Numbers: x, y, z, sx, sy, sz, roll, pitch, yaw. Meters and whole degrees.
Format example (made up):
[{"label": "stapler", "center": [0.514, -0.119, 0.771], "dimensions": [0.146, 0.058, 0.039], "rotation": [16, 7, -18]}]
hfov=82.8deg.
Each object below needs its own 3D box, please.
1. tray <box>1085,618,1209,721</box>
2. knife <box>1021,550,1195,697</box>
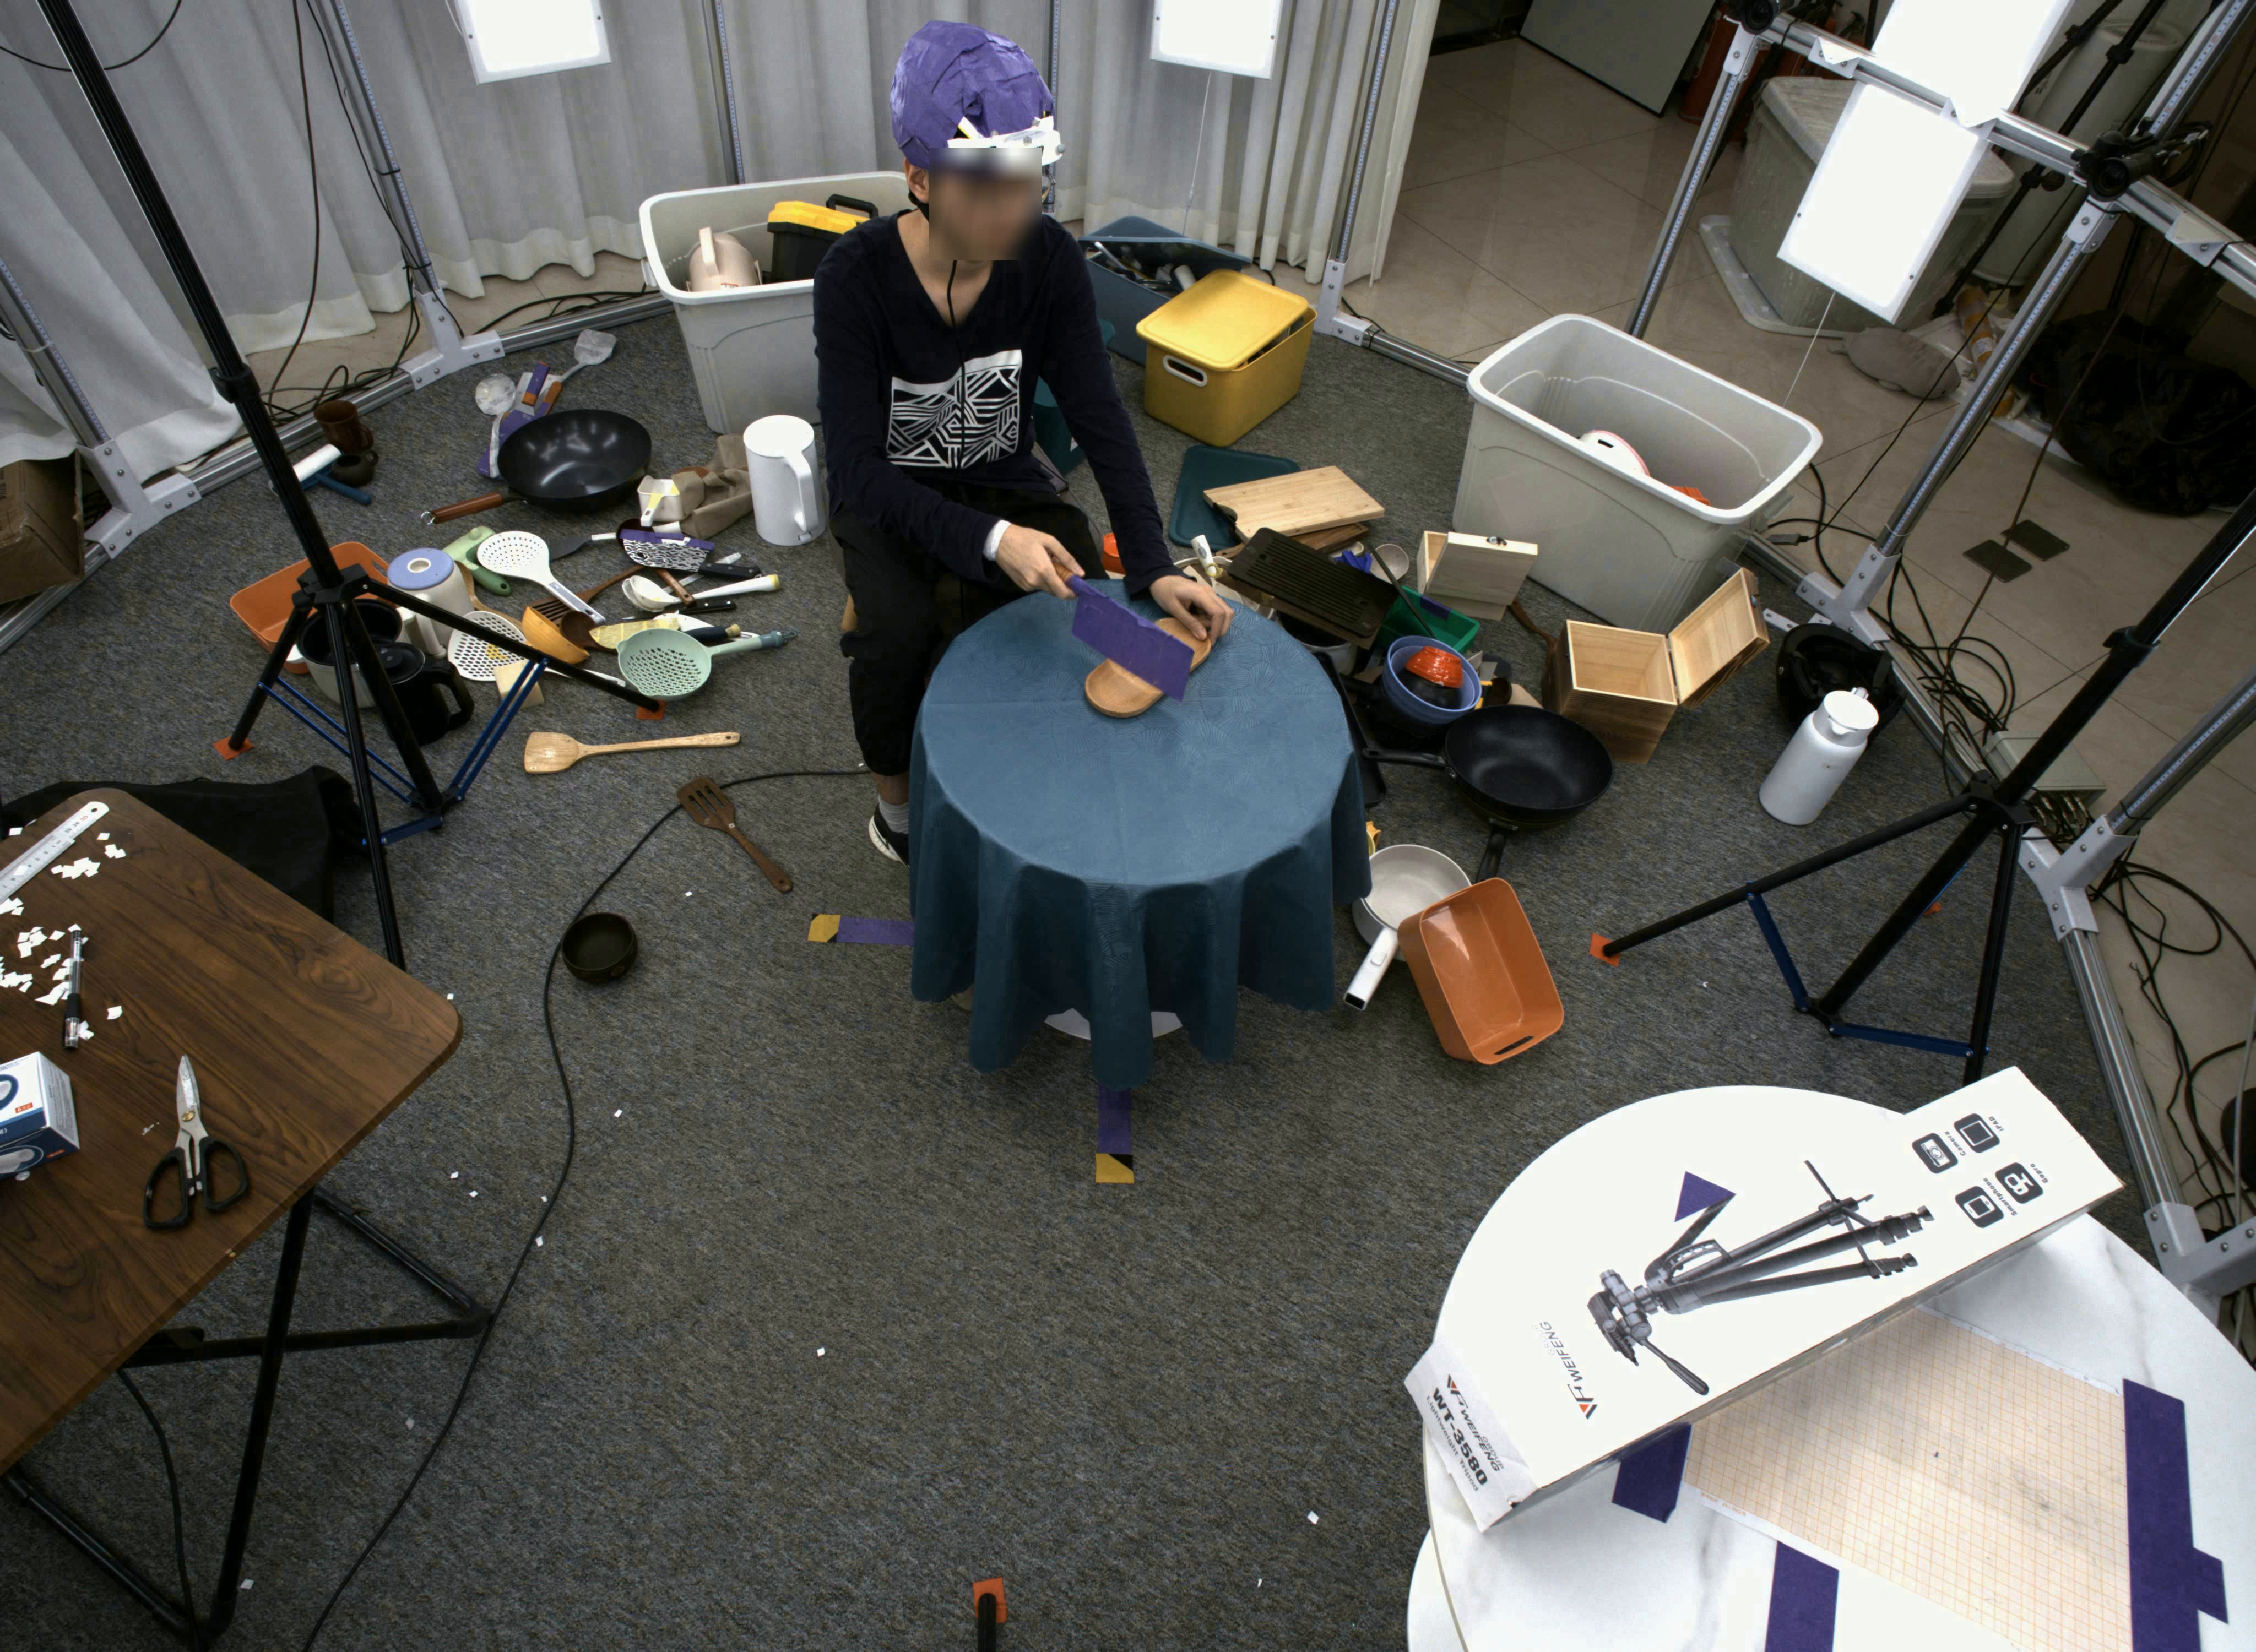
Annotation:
[{"label": "tray", "center": [0.029, -0.229, 1.858], "dimensions": [0.103, 0.020, 0.234], "rotation": [31, 56, 22]}, {"label": "knife", "center": [-0.037, -0.285, 1.829], "dimensions": [0.320, 0.101, 0.032], "rotation": [36, 40, 26]}]
